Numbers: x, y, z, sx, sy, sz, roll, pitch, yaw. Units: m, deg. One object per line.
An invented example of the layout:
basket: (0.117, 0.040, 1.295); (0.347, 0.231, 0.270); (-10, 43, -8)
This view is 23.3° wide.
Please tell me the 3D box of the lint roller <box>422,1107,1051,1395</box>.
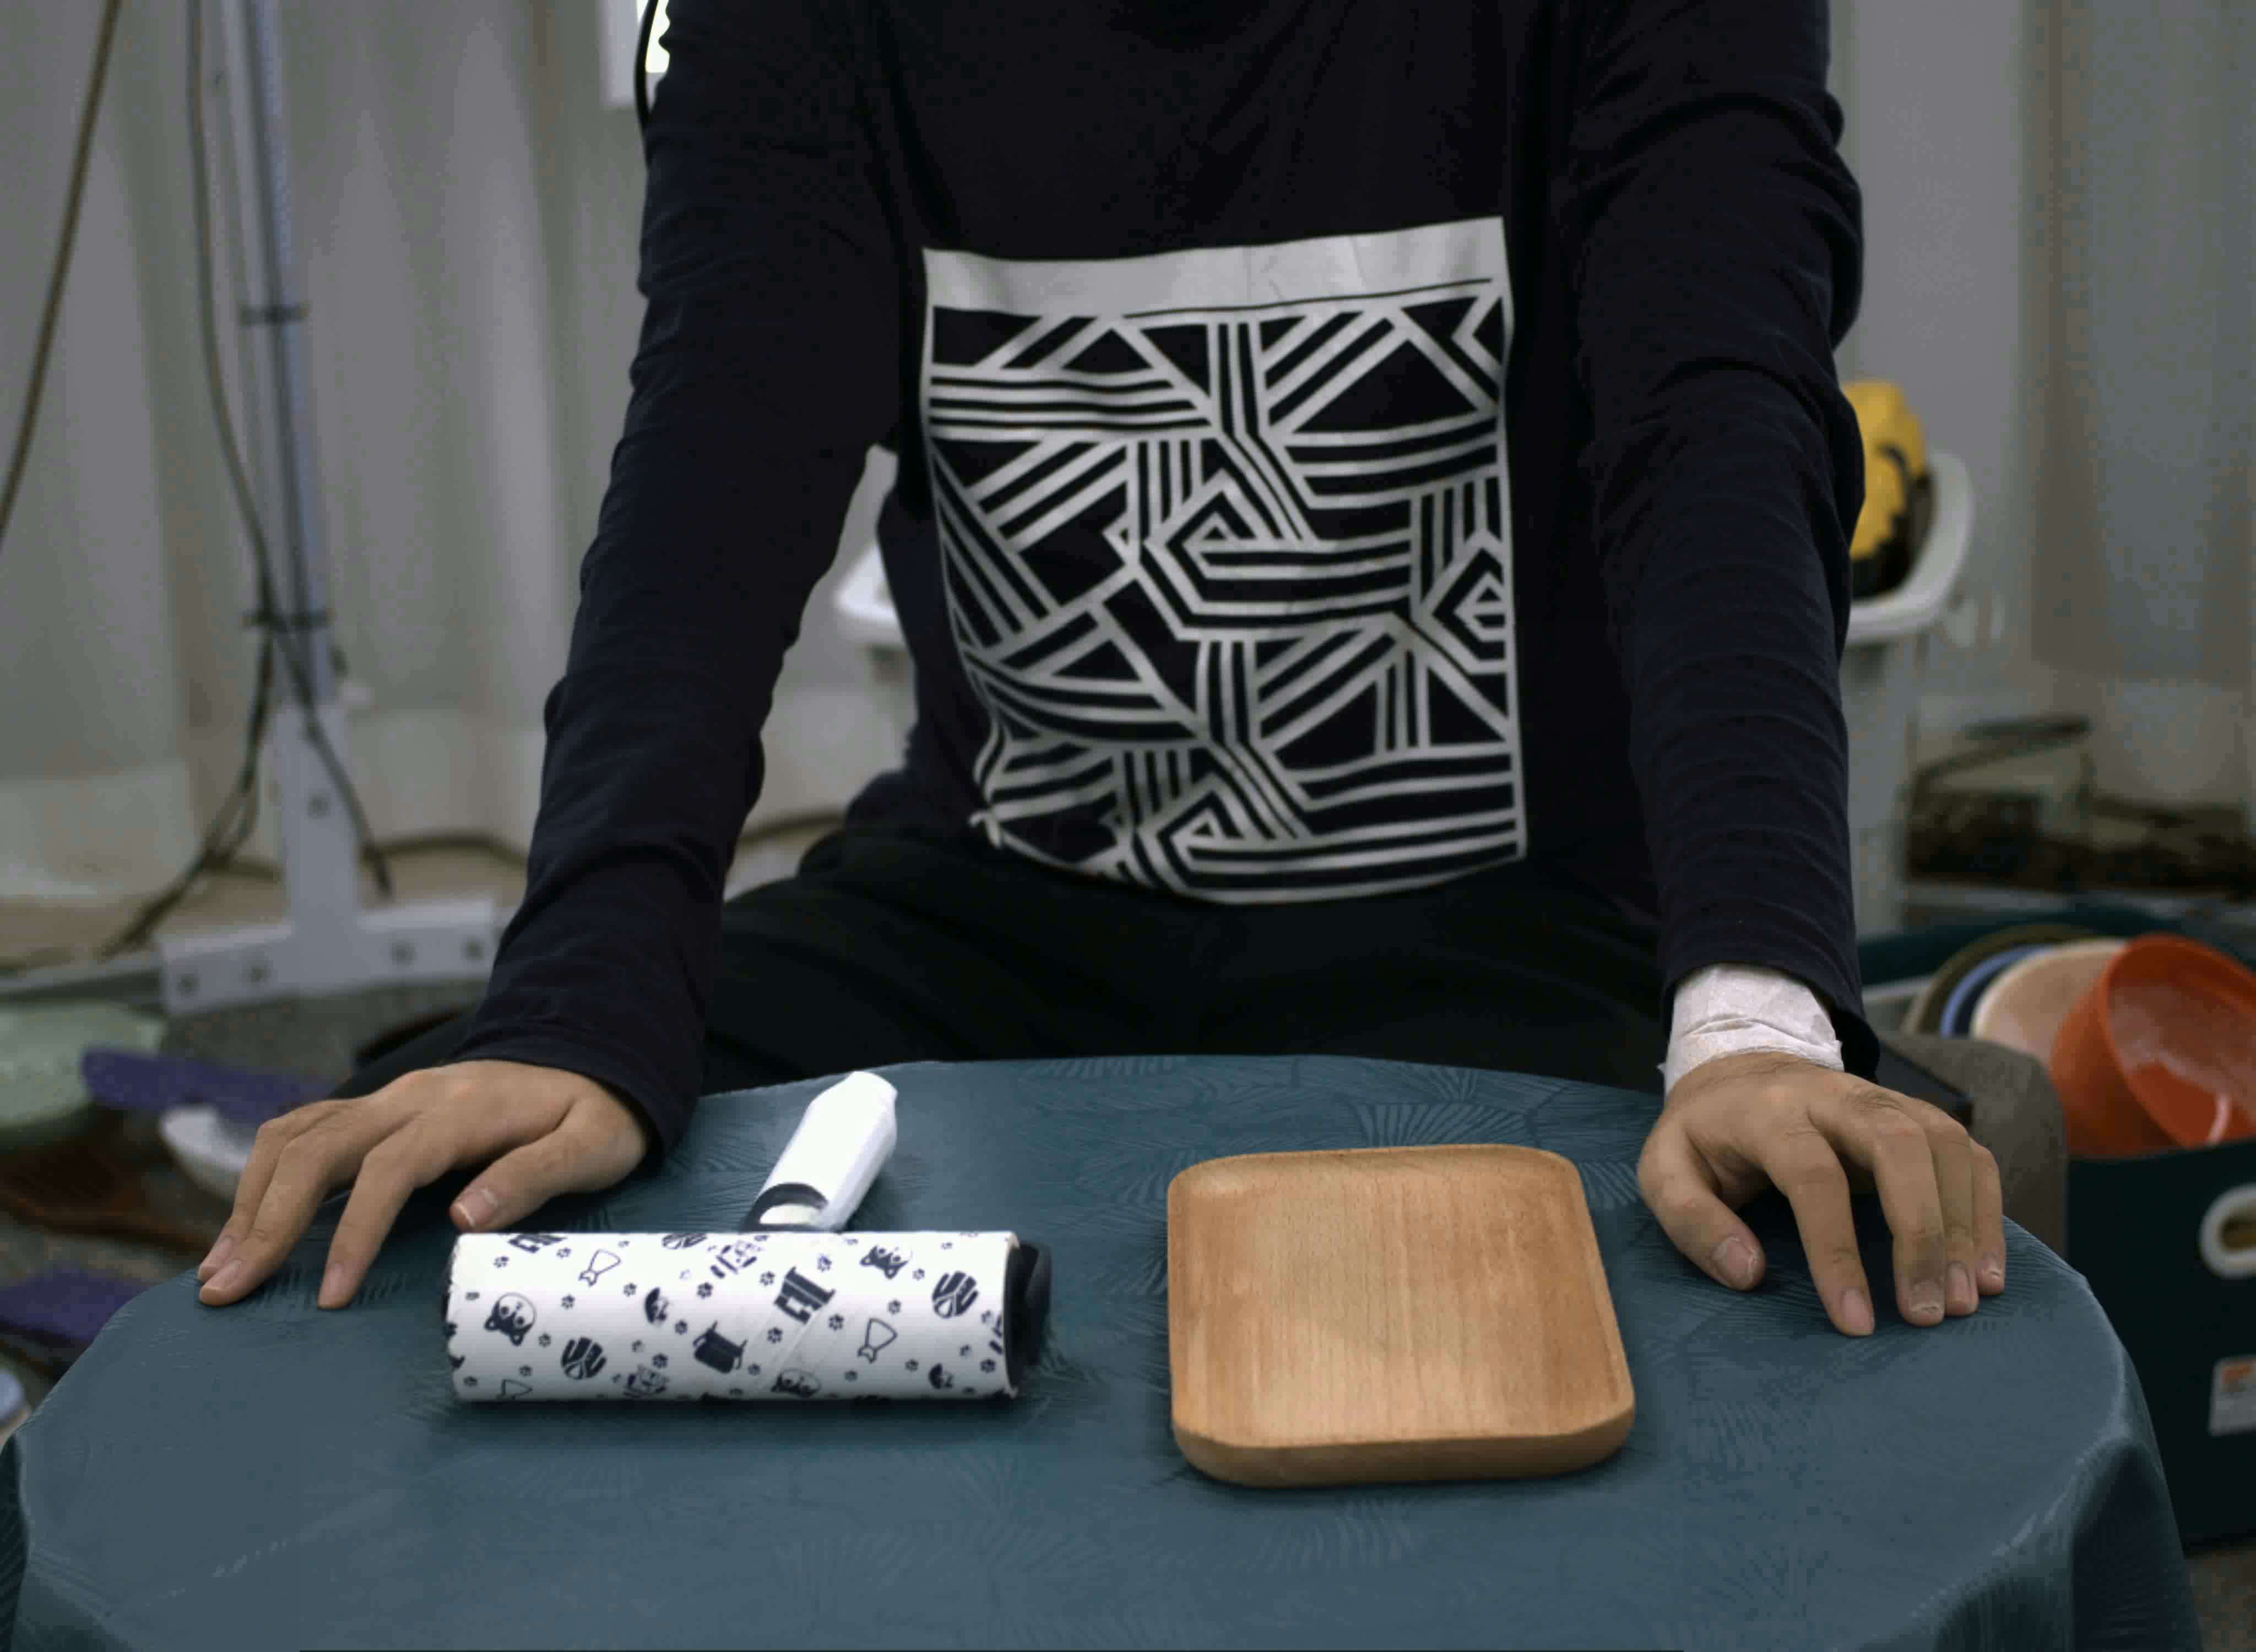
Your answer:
lint roller: (-0.101, 0.117, 1.651); (0.176, 0.050, 0.248); (-2, 12, 6)

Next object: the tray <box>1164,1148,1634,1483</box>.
tray: (0.075, 0.139, 1.583); (0.130, 0.023, 0.252); (0, 13, 2)
